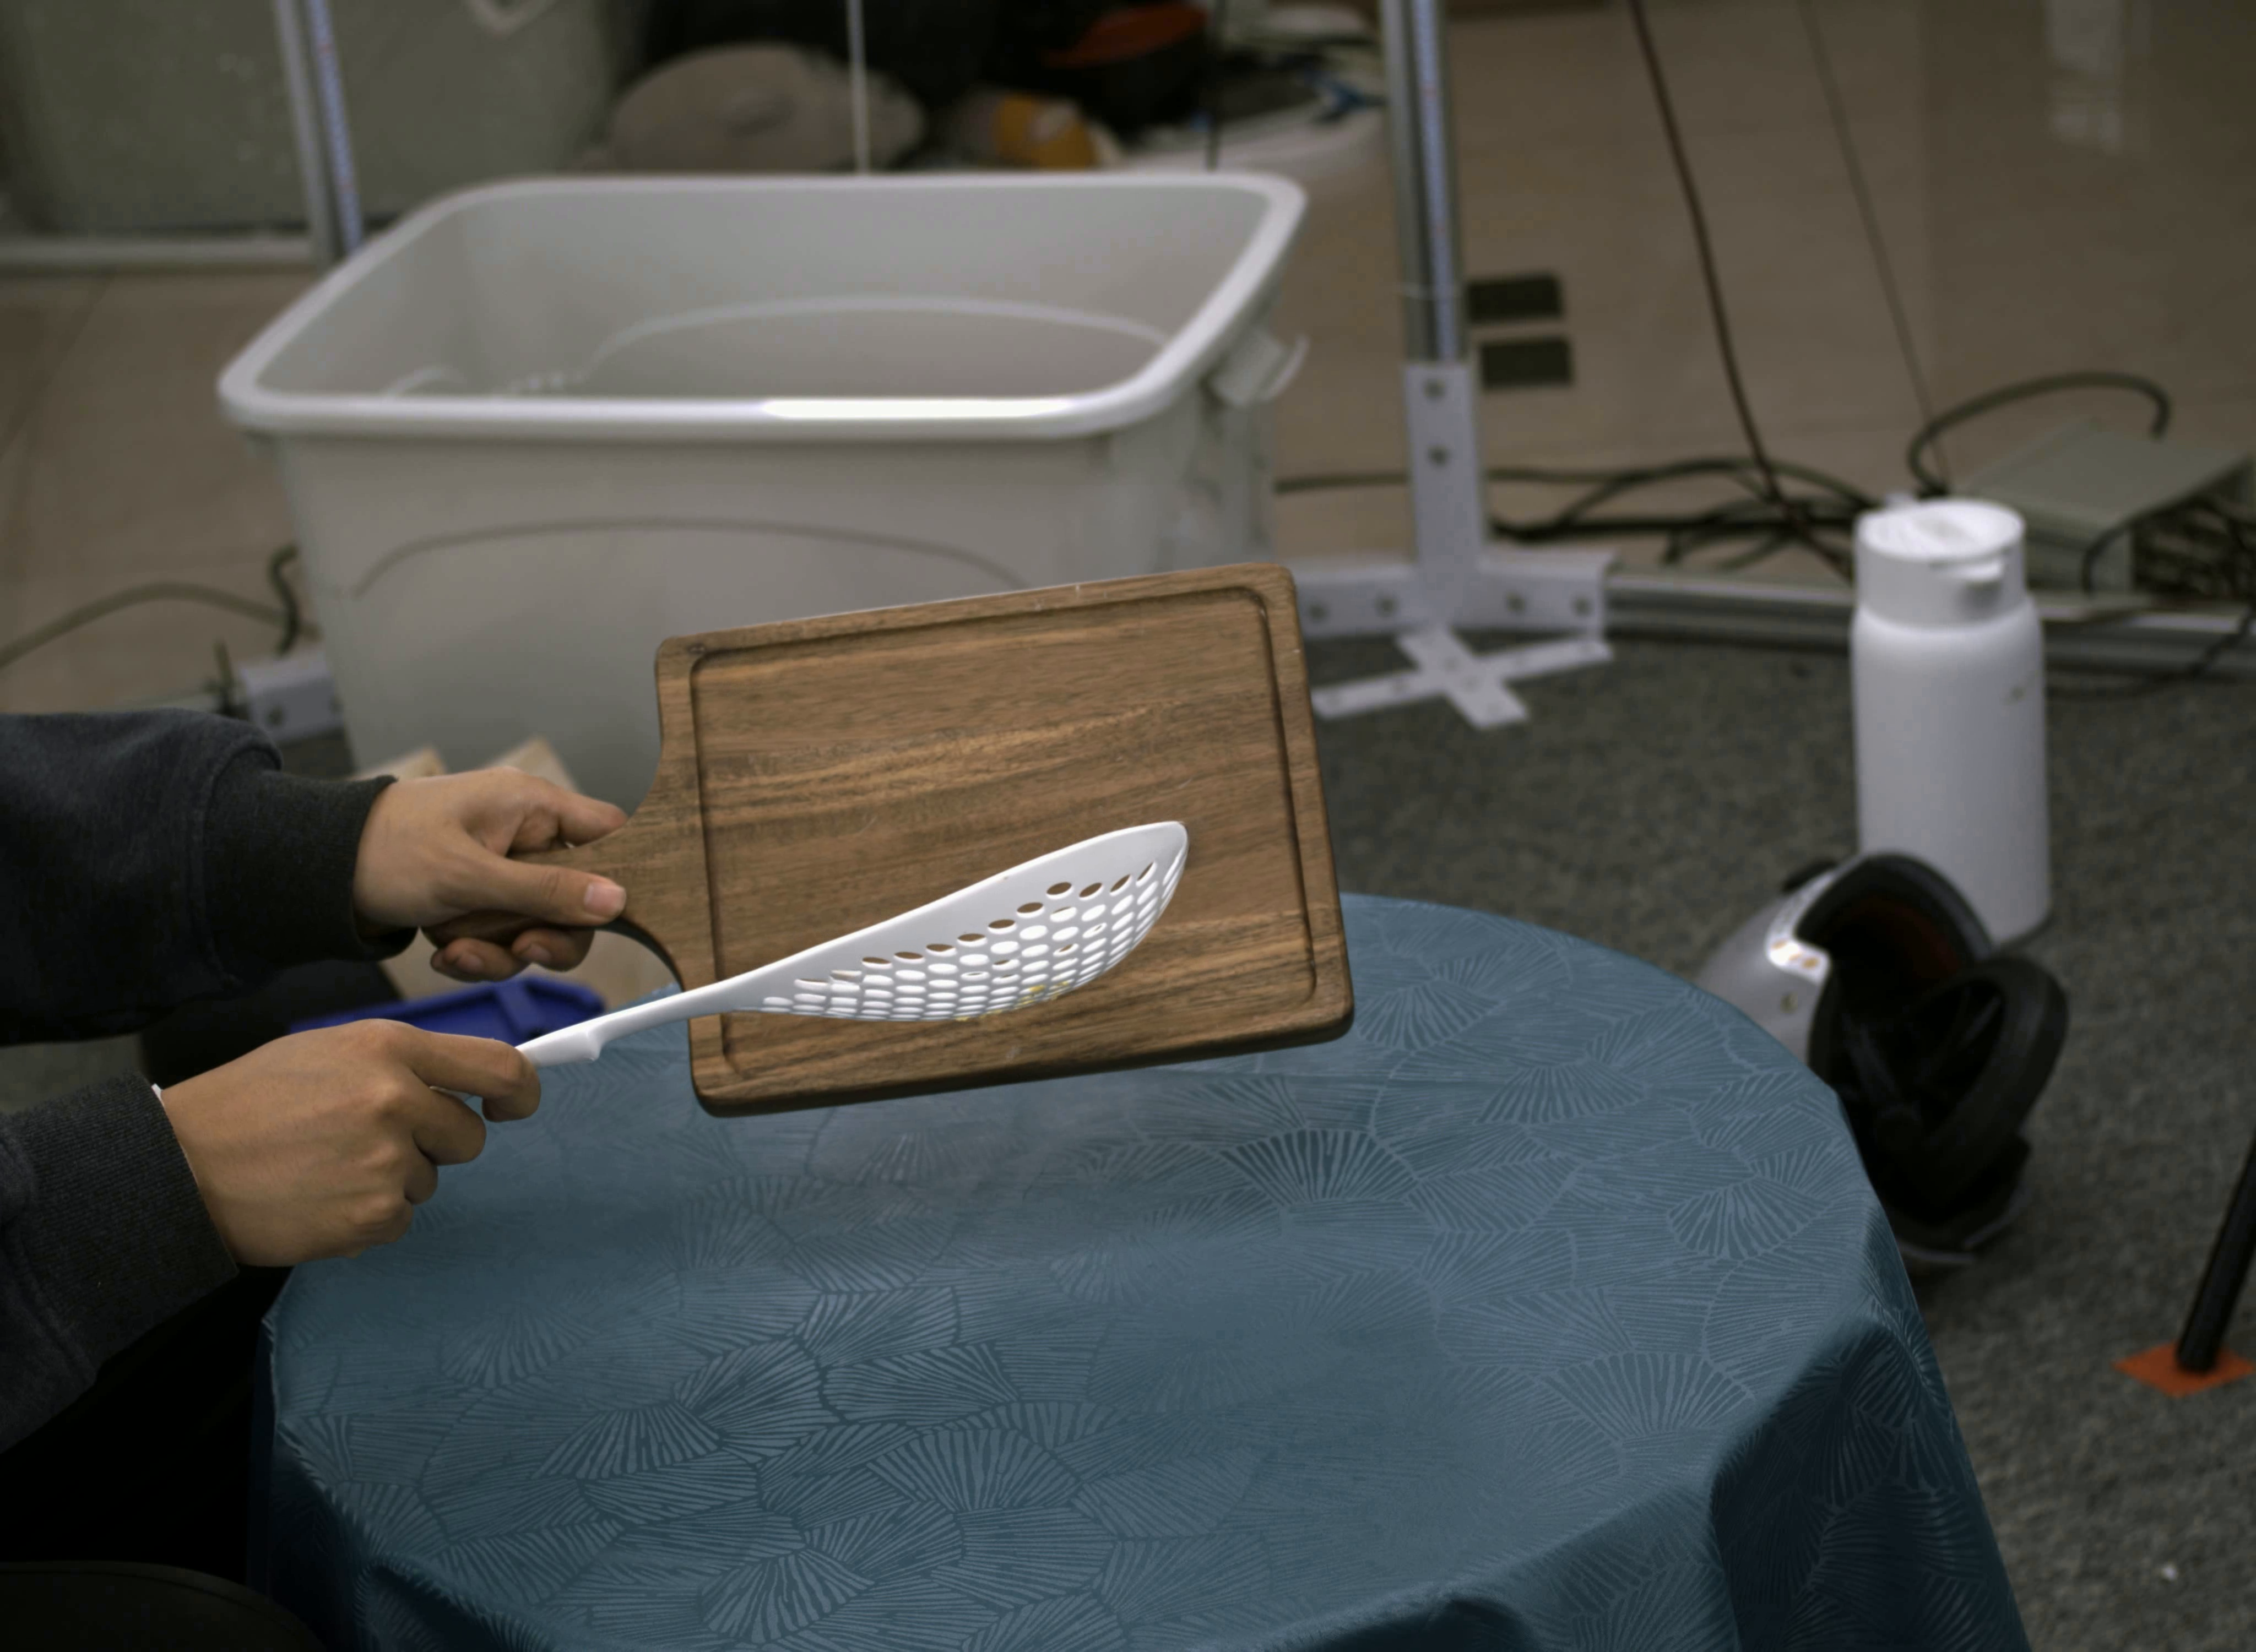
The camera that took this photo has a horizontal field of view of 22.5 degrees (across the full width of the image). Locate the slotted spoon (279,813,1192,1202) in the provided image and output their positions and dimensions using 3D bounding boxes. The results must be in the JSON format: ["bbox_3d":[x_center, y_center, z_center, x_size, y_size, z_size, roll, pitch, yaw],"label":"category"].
[{"bbox_3d":[-0.135,0.066,1.985,0.346,0.050,0.138,-14,-10,-17],"label":"slotted spoon"}]

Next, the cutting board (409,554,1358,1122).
[{"bbox_3d":[-0.098,0.009,2.155,0.351,0.023,0.198,-7,68,0],"label":"cutting board"}]
